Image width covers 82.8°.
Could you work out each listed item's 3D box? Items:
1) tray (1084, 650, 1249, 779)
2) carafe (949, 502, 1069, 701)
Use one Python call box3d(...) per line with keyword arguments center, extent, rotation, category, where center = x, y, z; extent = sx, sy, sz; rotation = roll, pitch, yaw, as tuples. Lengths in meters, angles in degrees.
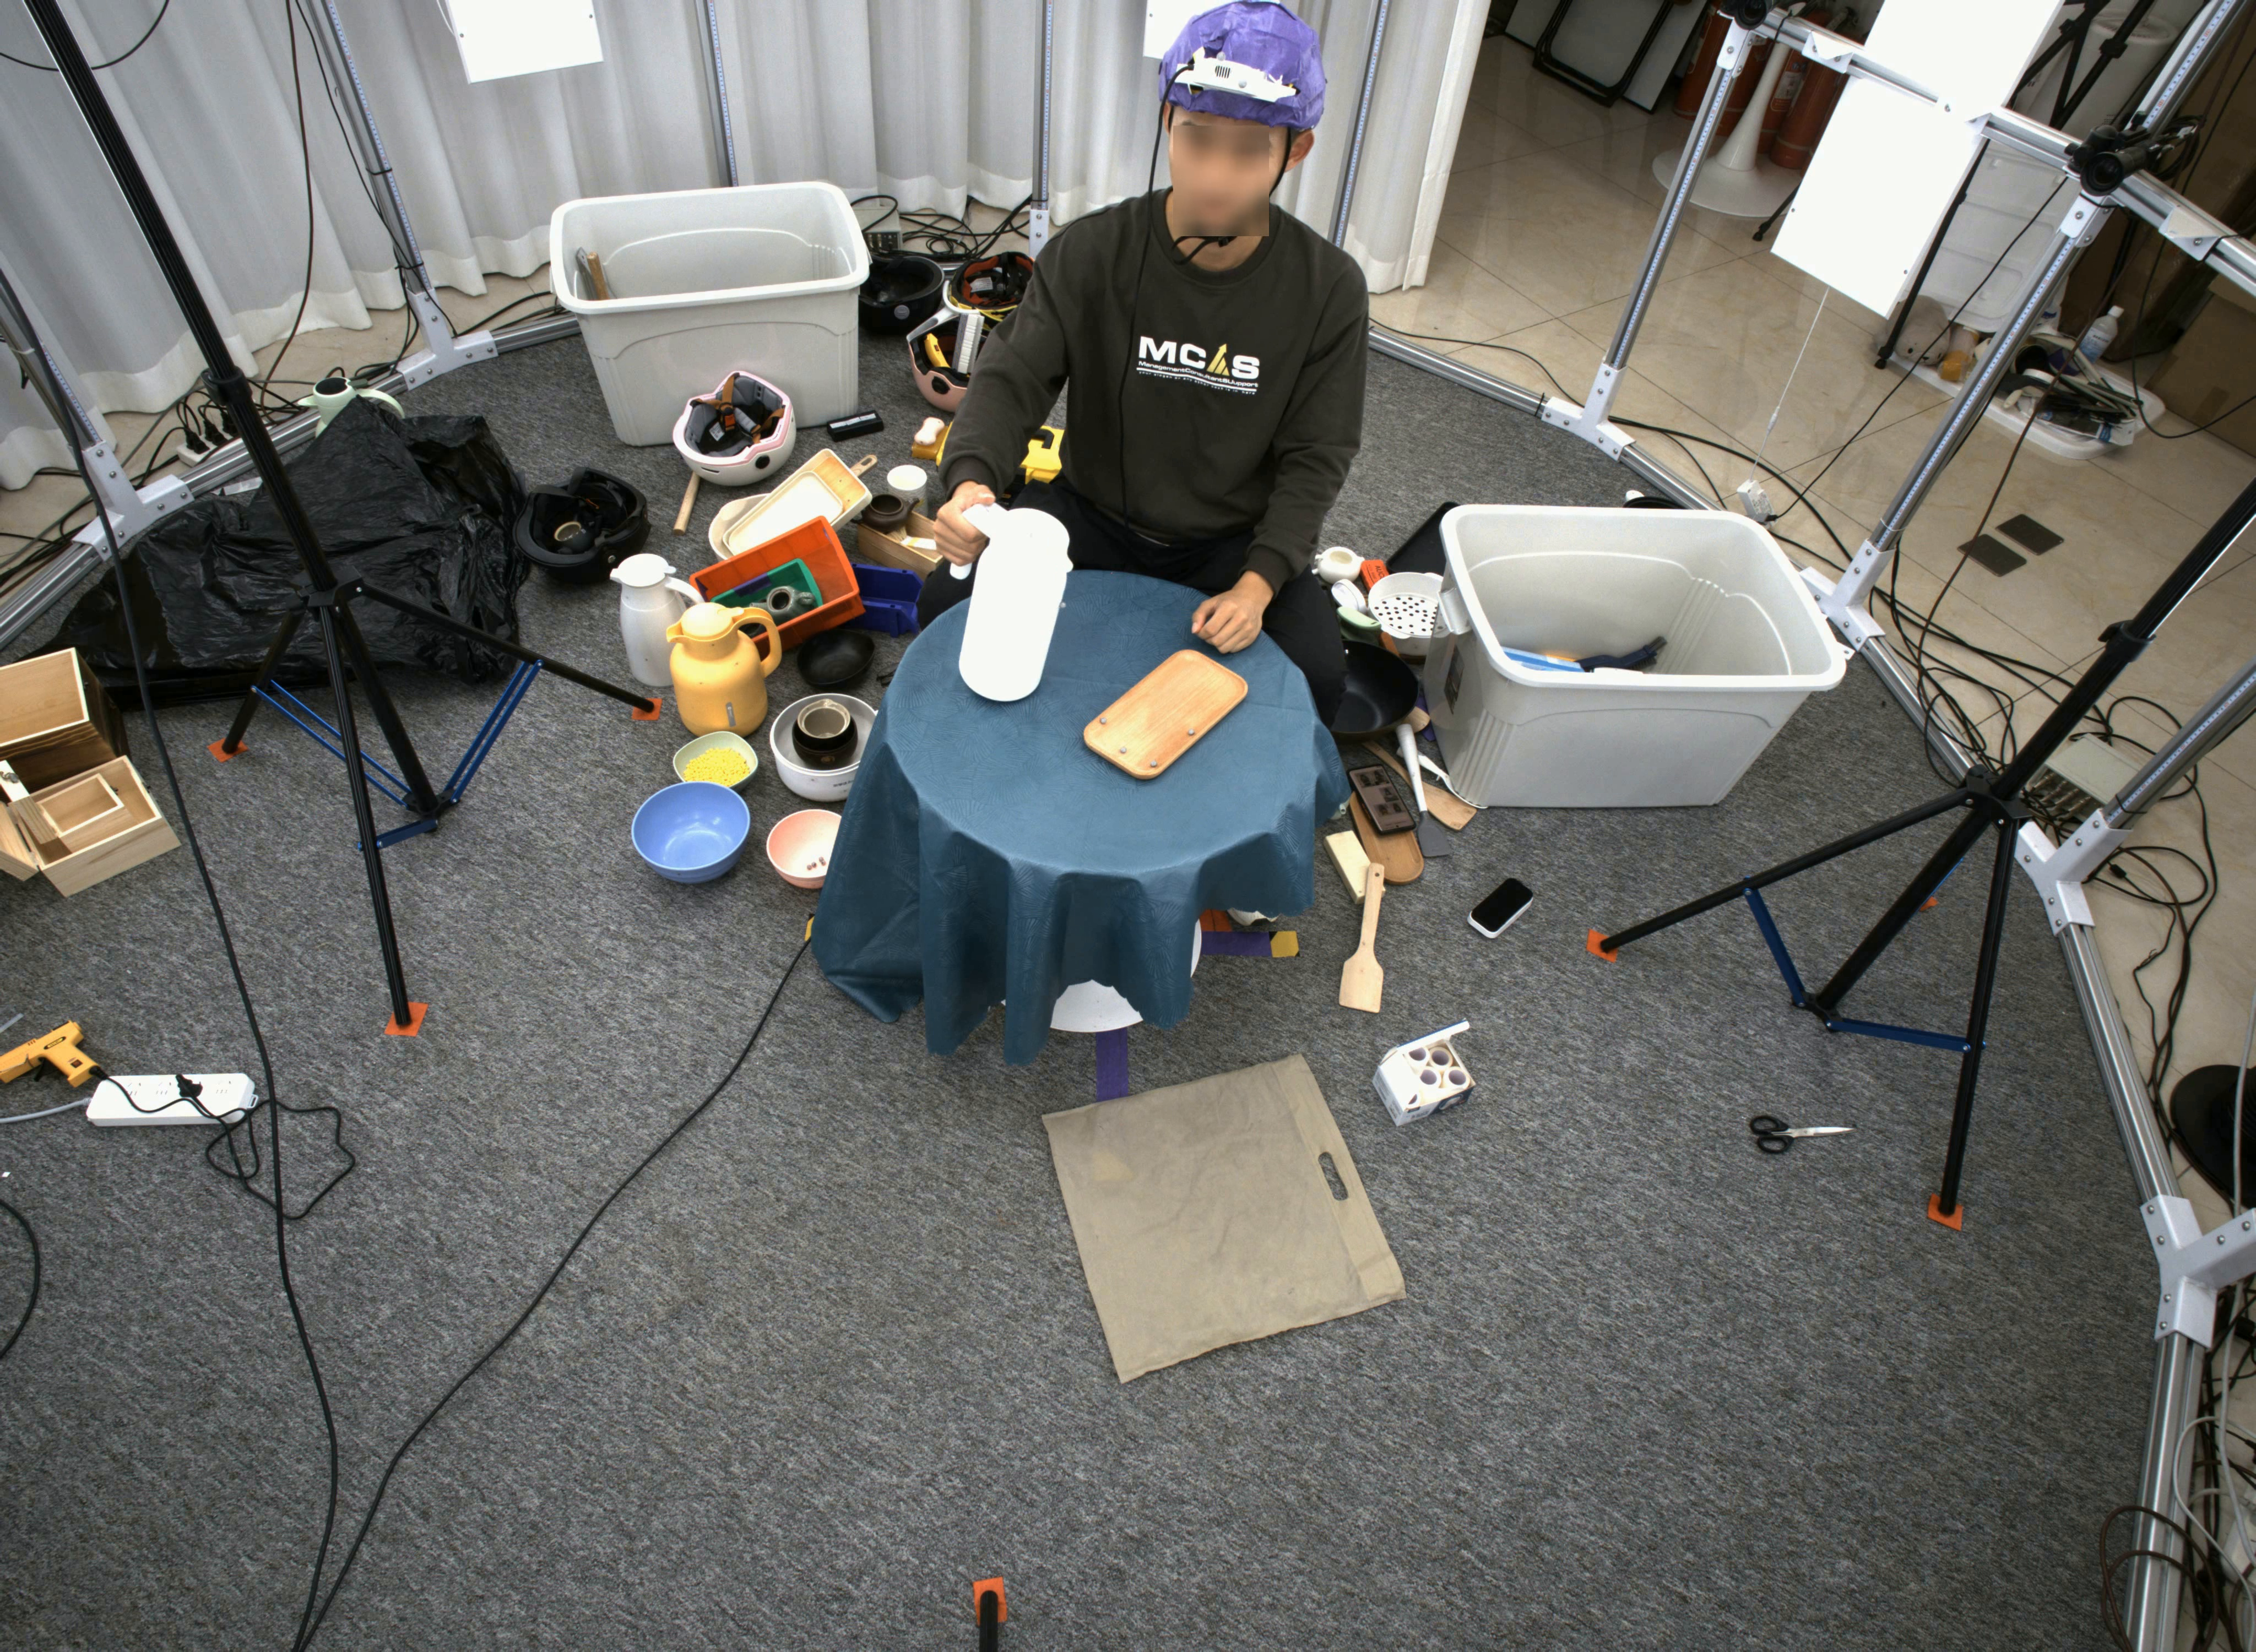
box3d(center=(0.056, -0.159, 1.797), extent=(0.132, 0.022, 0.253), rotation=(35, 55, 21), category="tray")
box3d(center=(-0.168, -0.303, 1.730), extent=(0.174, 0.263, 0.125), rotation=(37, 55, 14), category="carafe")
